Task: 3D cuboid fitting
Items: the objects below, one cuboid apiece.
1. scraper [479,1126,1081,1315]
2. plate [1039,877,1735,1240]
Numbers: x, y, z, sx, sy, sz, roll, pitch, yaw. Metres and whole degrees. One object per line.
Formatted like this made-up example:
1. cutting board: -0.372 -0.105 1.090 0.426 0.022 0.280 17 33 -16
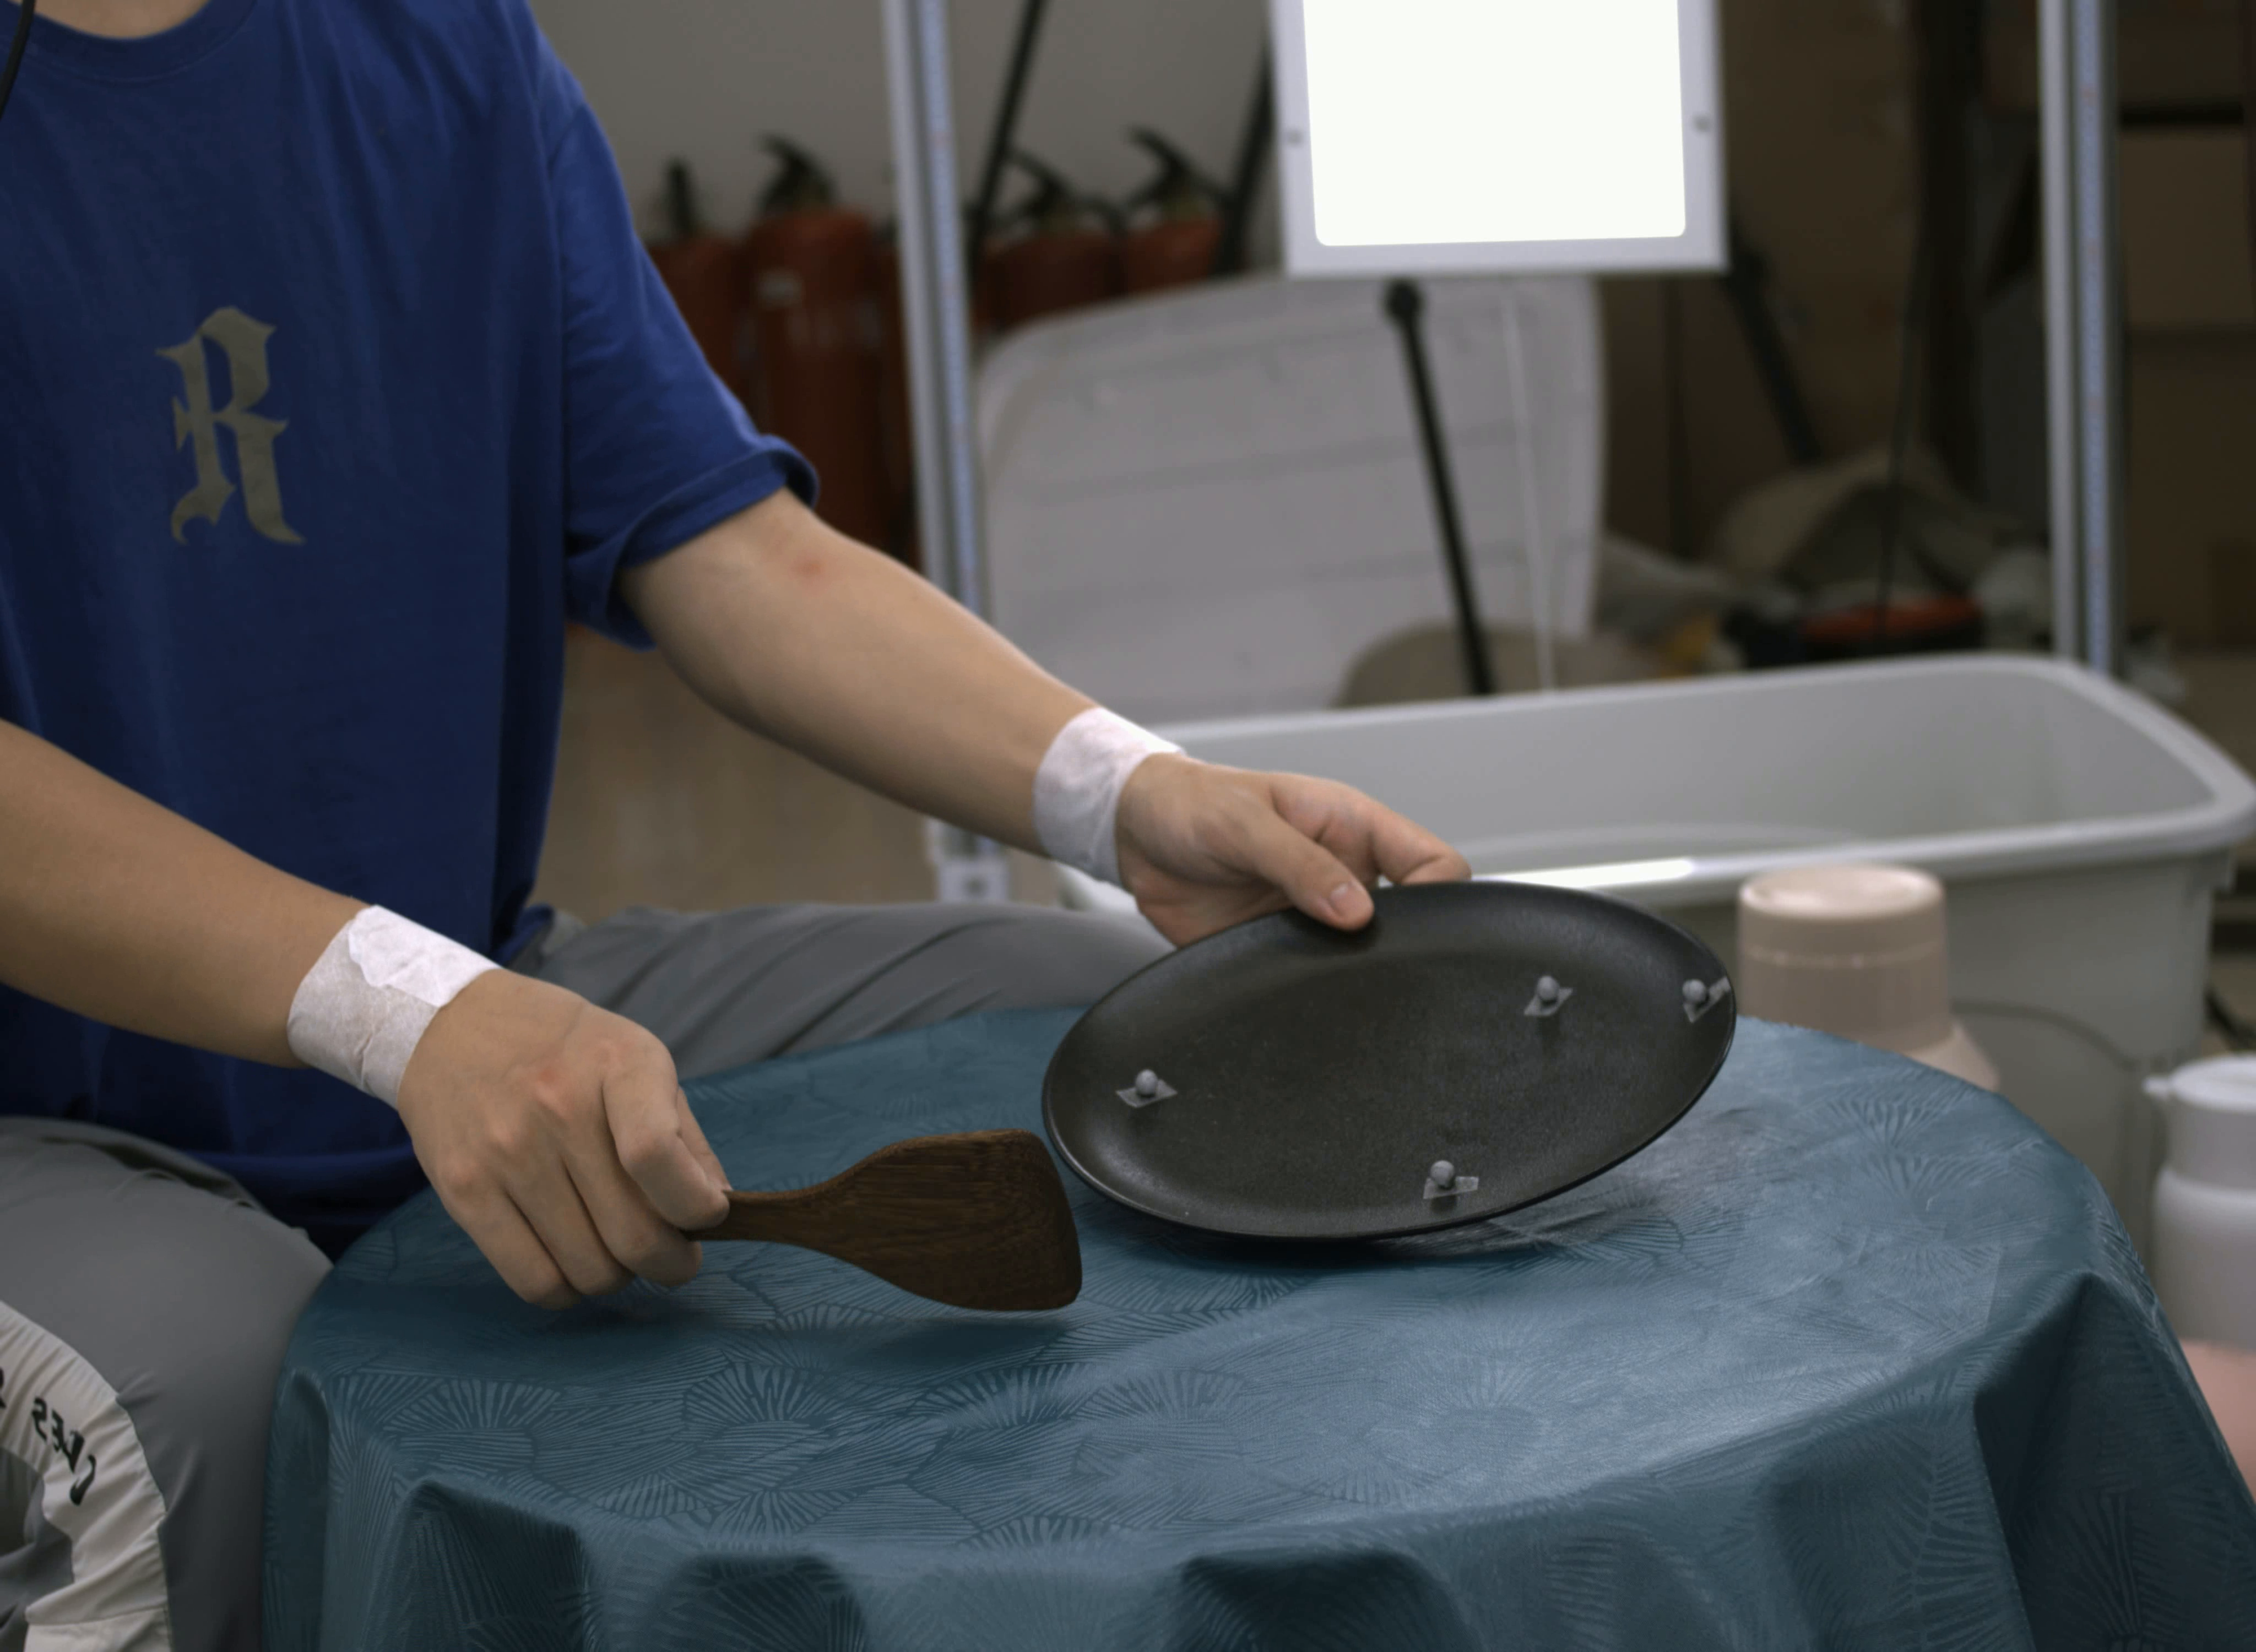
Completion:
1. scraper: -0.117 0.127 1.791 0.215 0.076 0.010 0 38 25
2. plate: 0.090 0.085 1.898 0.244 0.023 0.244 -10 26 4
